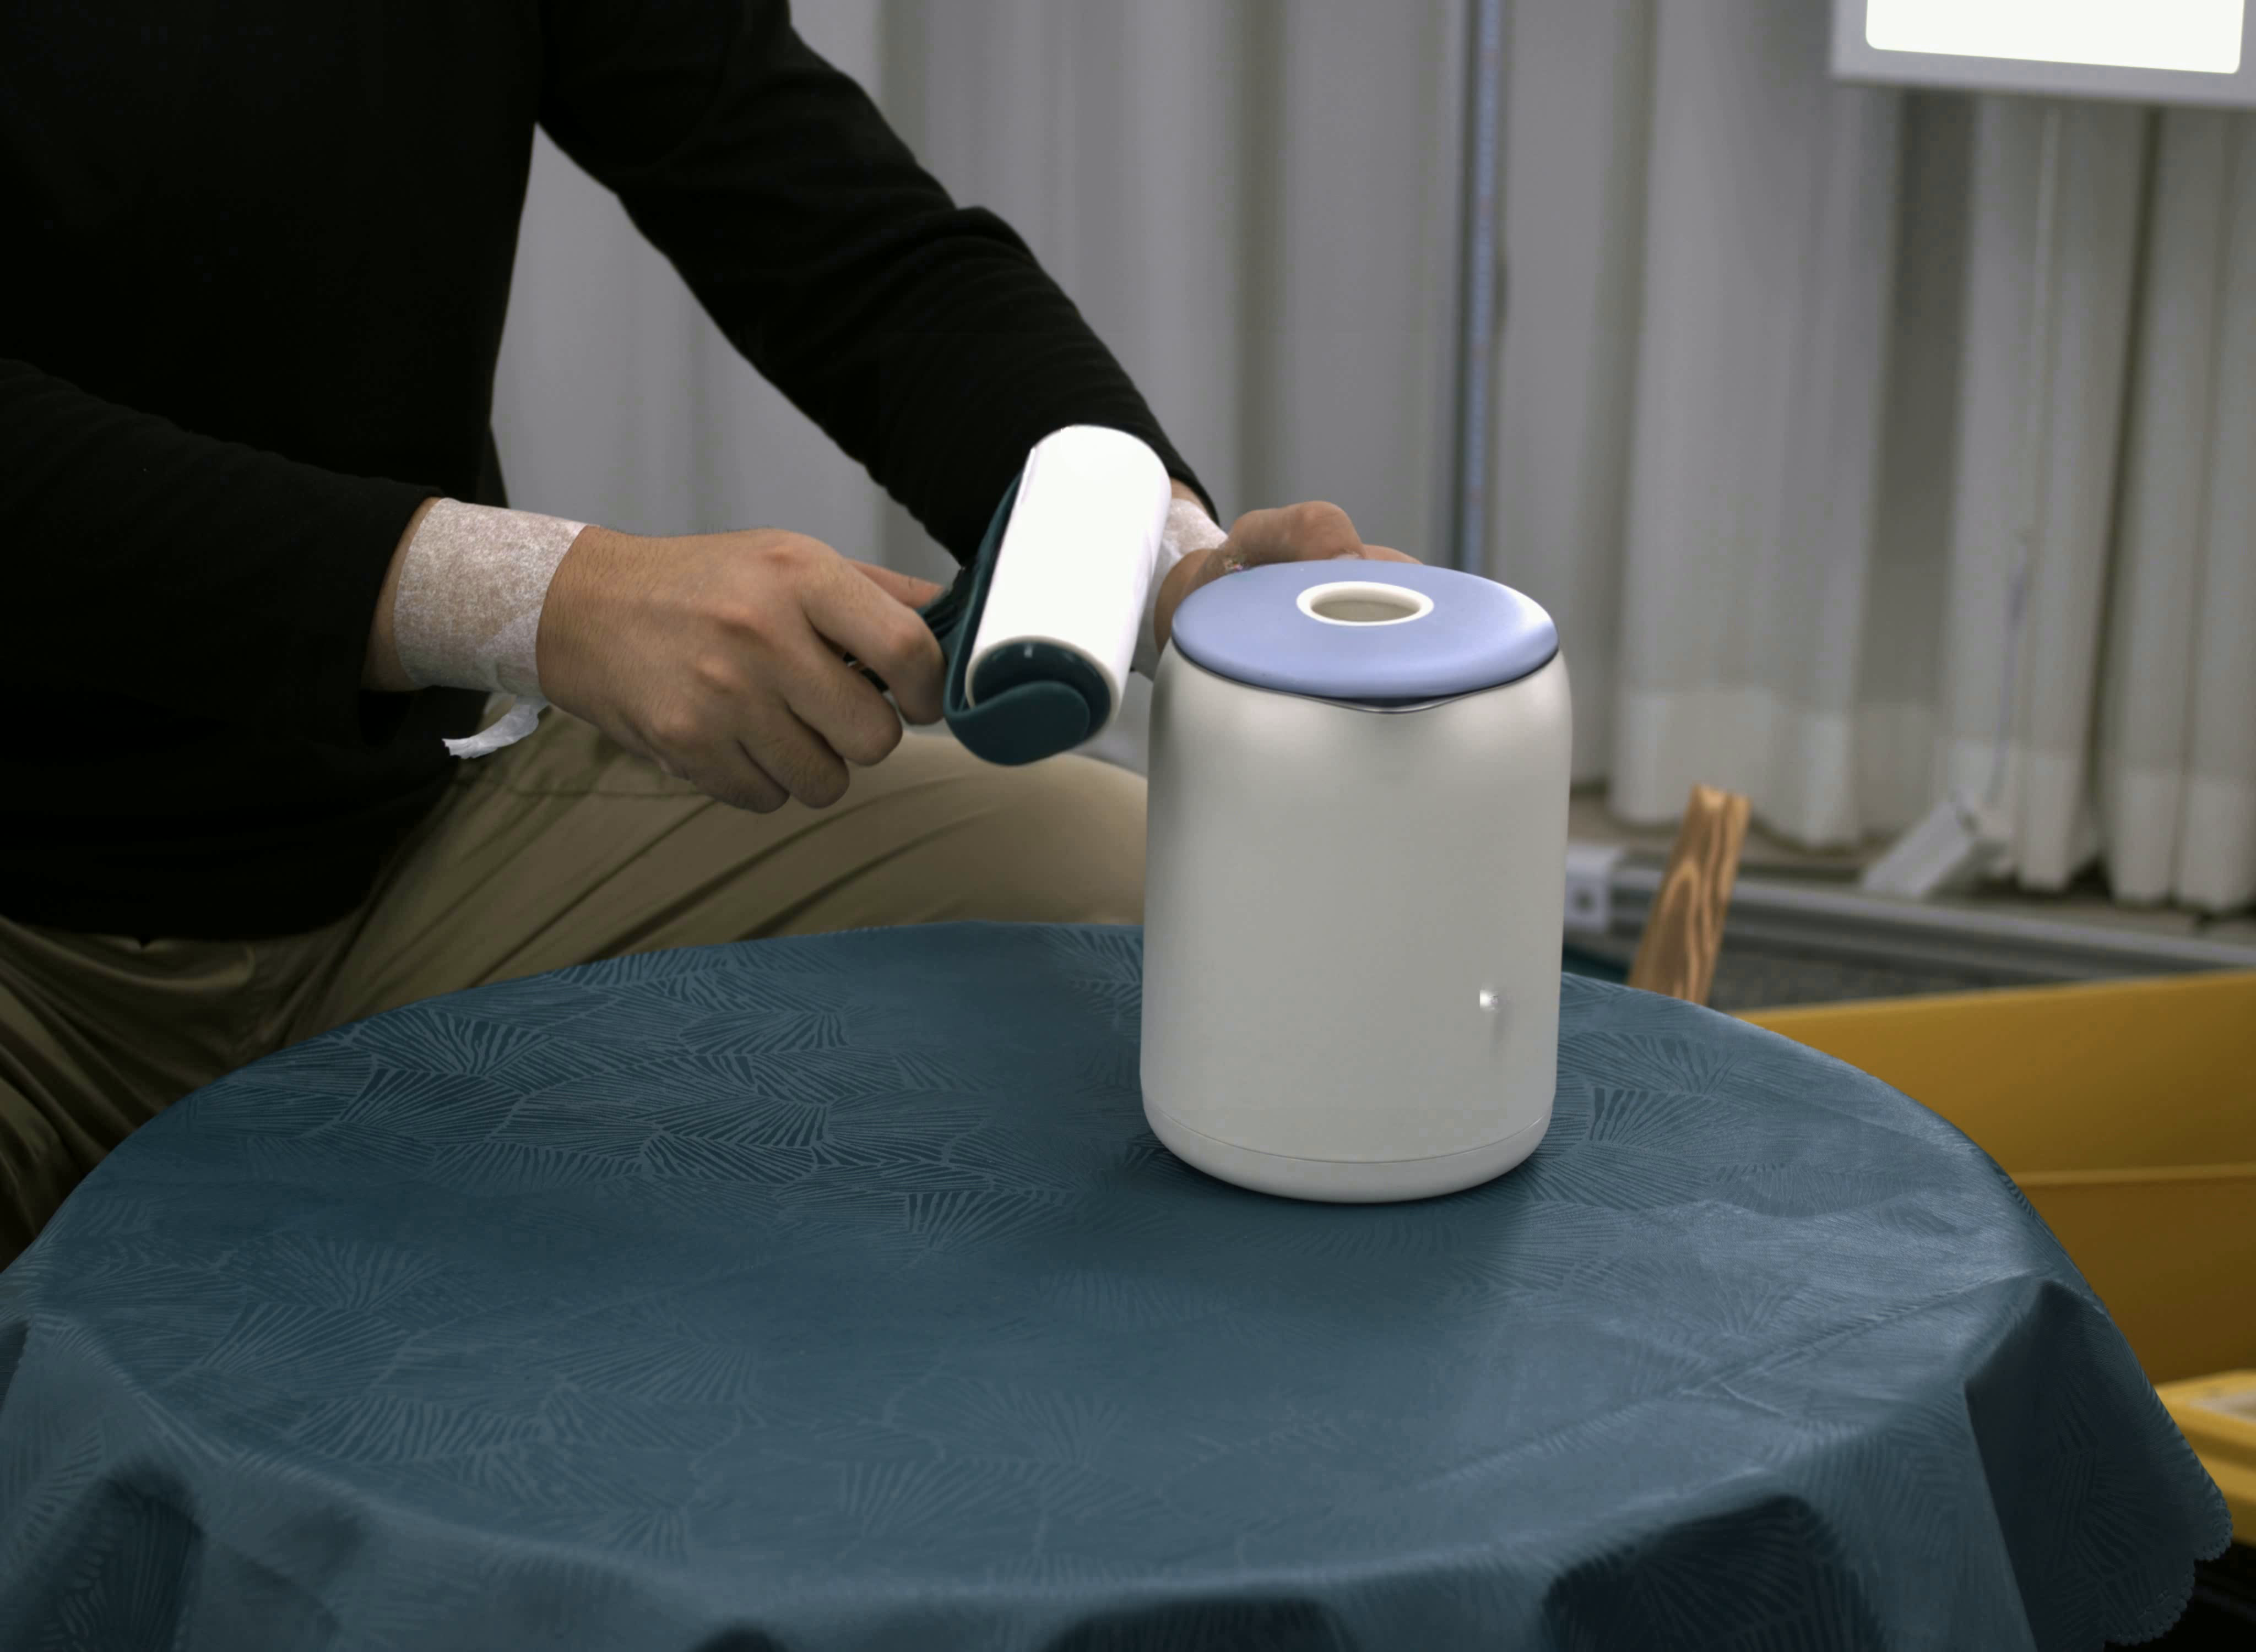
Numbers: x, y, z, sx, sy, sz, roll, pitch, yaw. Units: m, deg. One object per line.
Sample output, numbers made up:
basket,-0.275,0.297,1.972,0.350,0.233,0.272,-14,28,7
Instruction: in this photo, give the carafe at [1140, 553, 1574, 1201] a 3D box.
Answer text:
carafe,0.068,0.007,1.656,0.132,0.184,0.189,-1,19,-8

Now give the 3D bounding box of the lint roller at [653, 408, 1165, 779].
lint roller,-0.078,-0.057,1.620,0.179,0.049,0.133,-13,38,23
